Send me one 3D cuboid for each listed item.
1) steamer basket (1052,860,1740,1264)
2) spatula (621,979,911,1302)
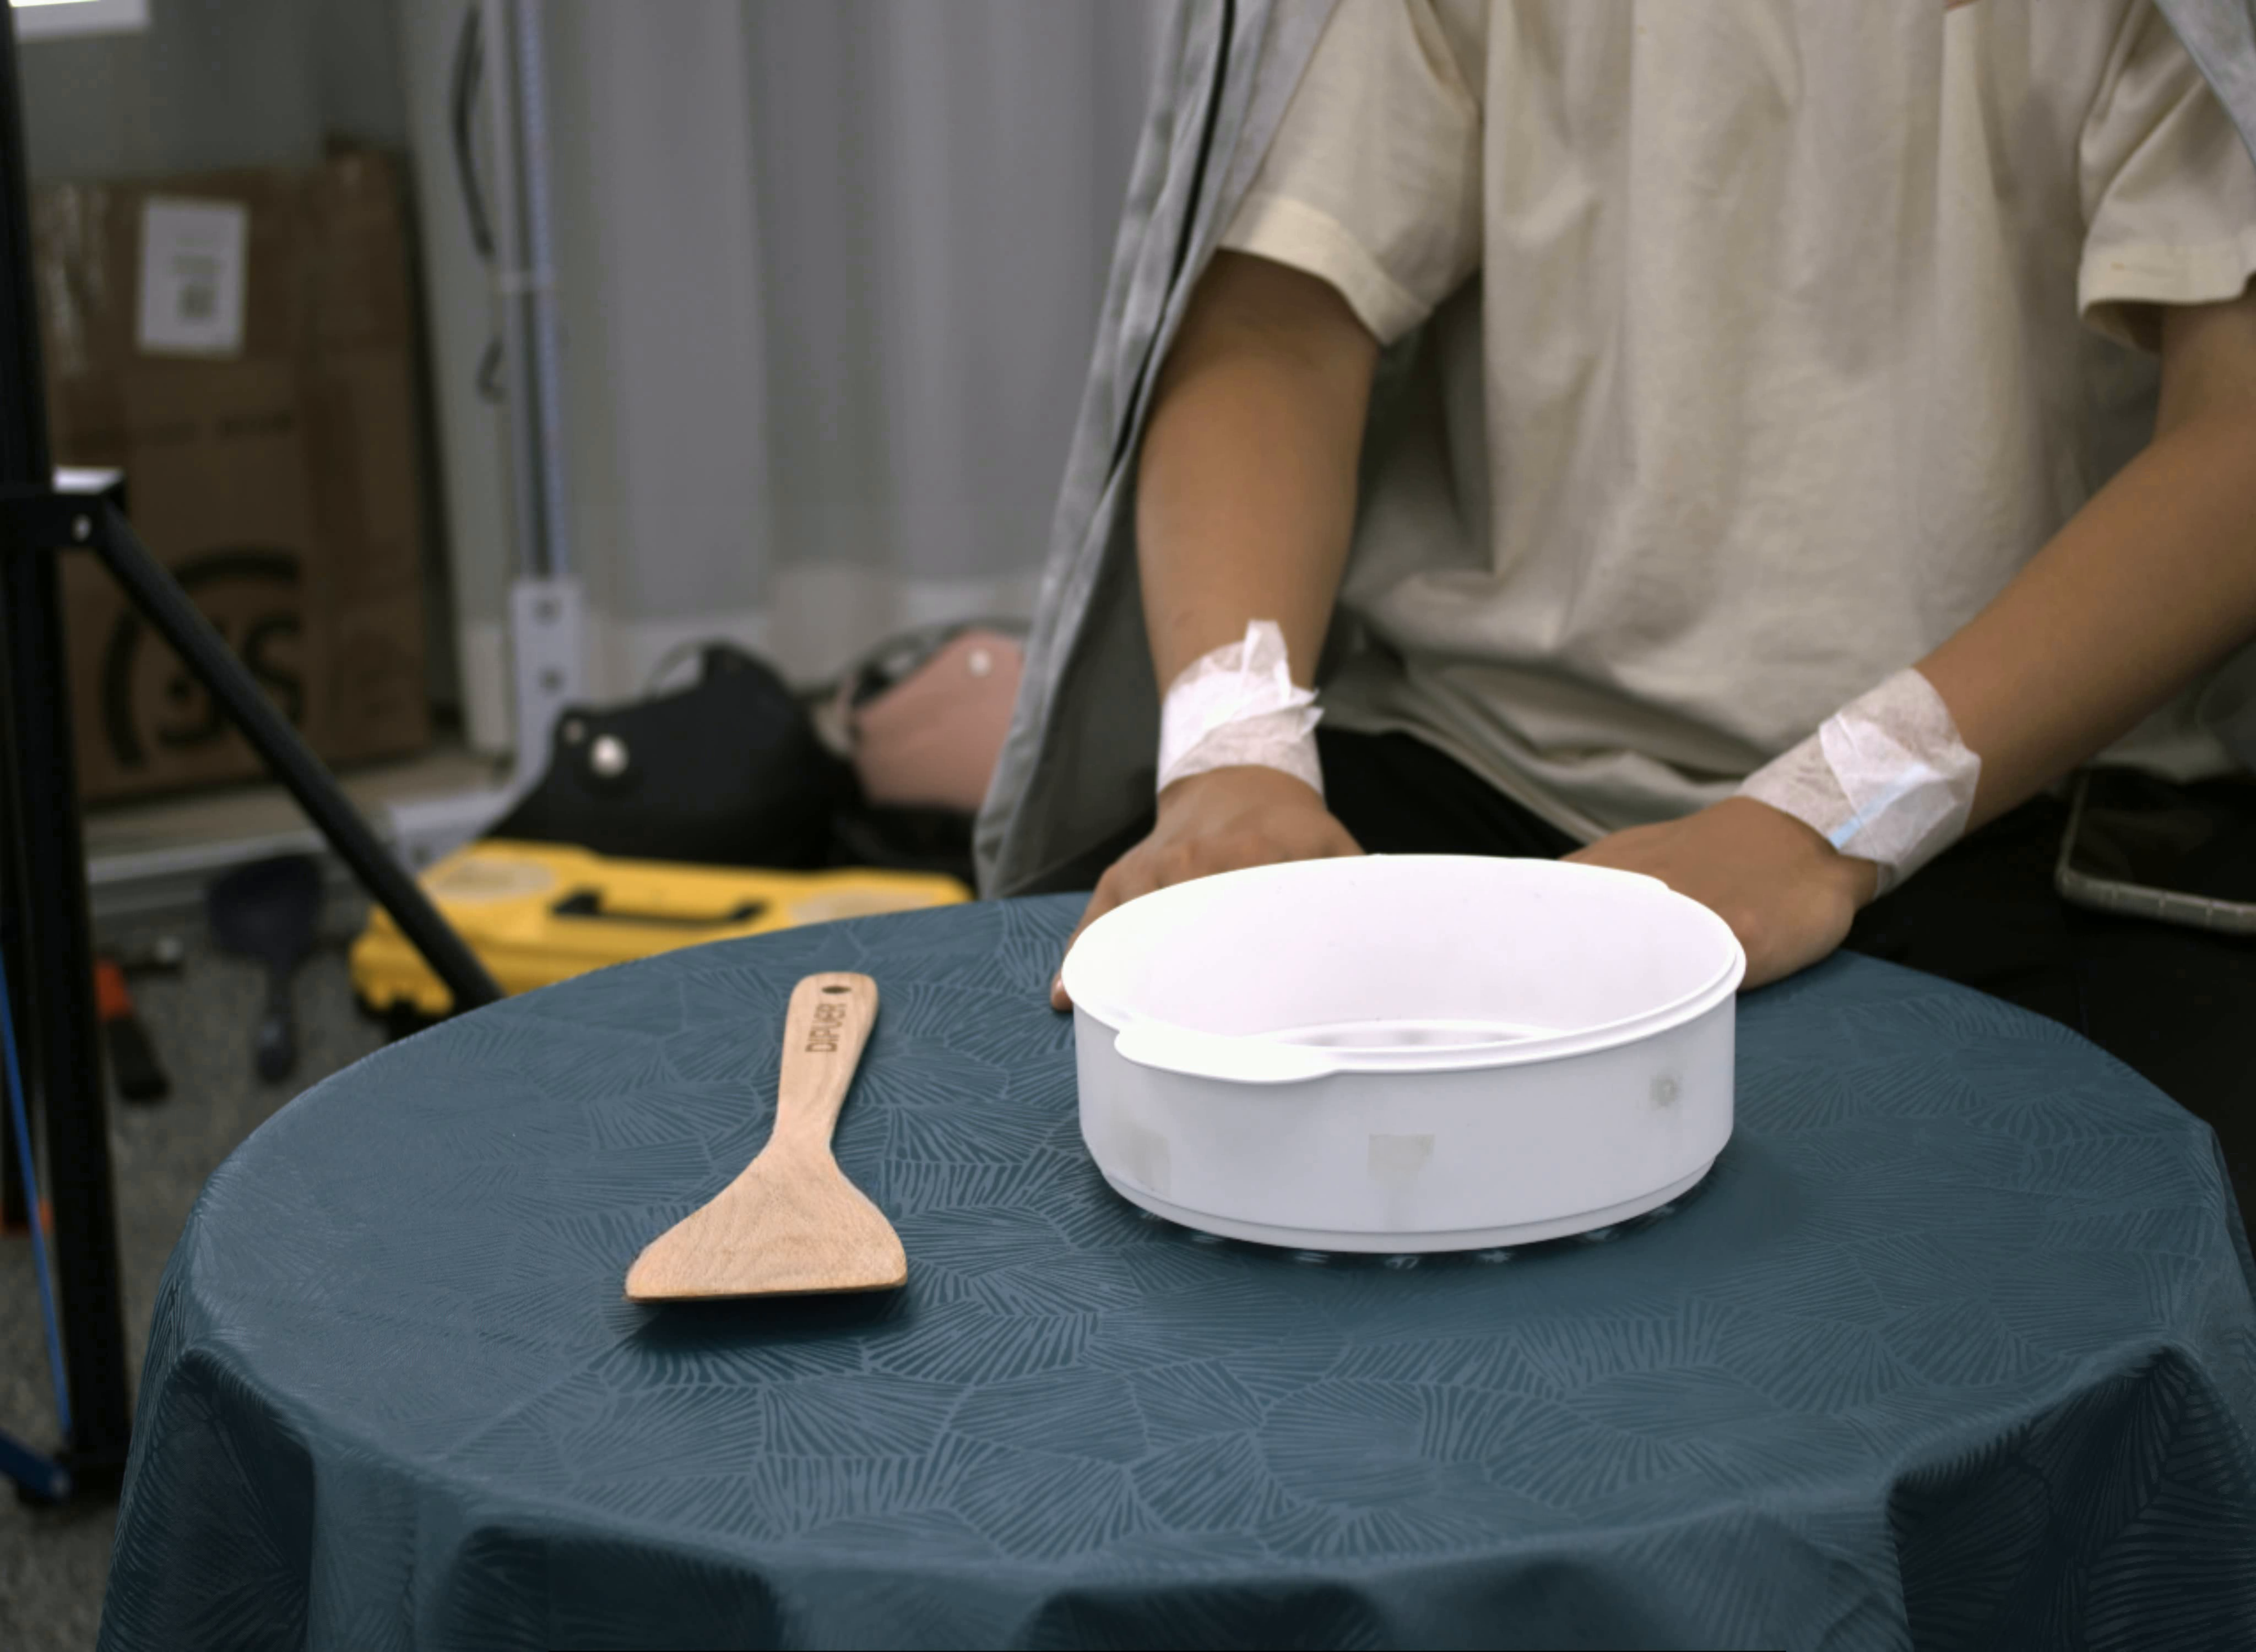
[{"bbox_3d":[0.078,0.069,1.560,0.206,0.069,0.226,10,19,34],"label":"steamer basket"},{"bbox_3d":[-0.099,0.091,1.599,0.079,0.016,0.328,-2,15,1],"label":"spatula"}]
